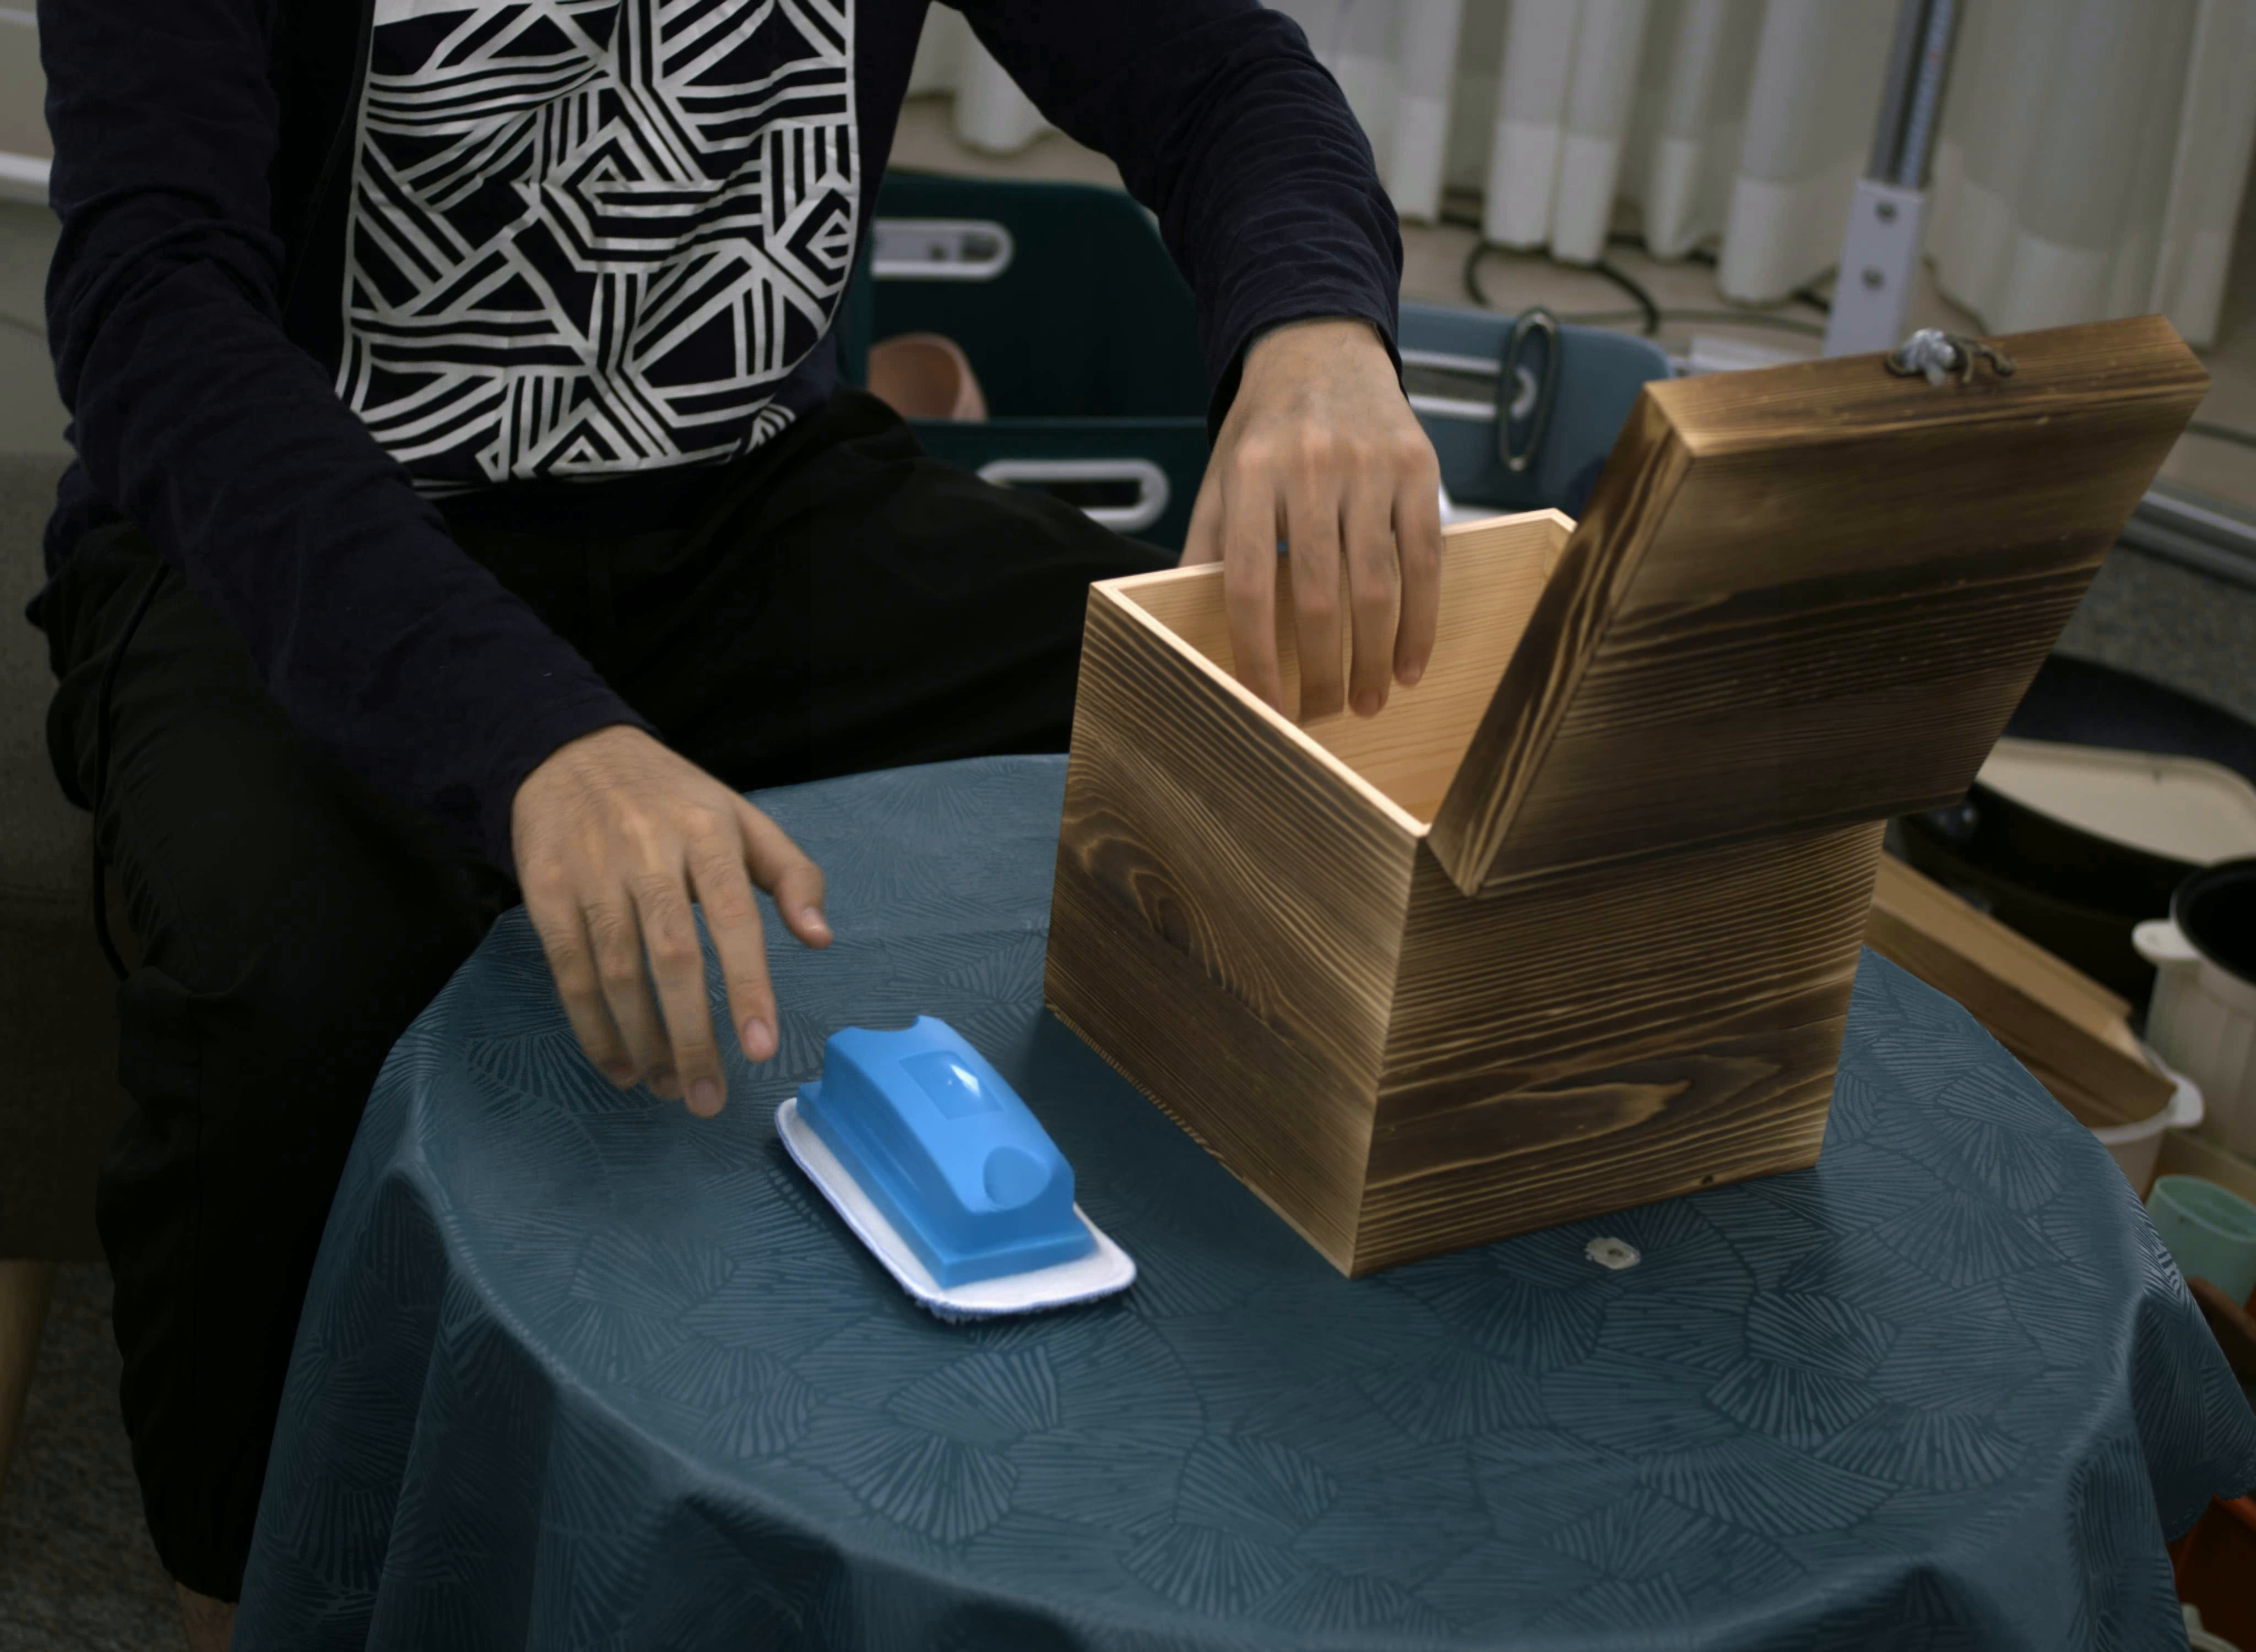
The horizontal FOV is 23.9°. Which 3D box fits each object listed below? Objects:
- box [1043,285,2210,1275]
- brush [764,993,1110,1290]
[{"bbox_3d":[0.154,-0.046,1.776,0.207,0.374,0.325,-10,31,-31],"label":"box"},{"bbox_3d":[-0.061,0.101,1.771,0.083,0.056,0.145,-3,30,-25],"label":"brush"}]
